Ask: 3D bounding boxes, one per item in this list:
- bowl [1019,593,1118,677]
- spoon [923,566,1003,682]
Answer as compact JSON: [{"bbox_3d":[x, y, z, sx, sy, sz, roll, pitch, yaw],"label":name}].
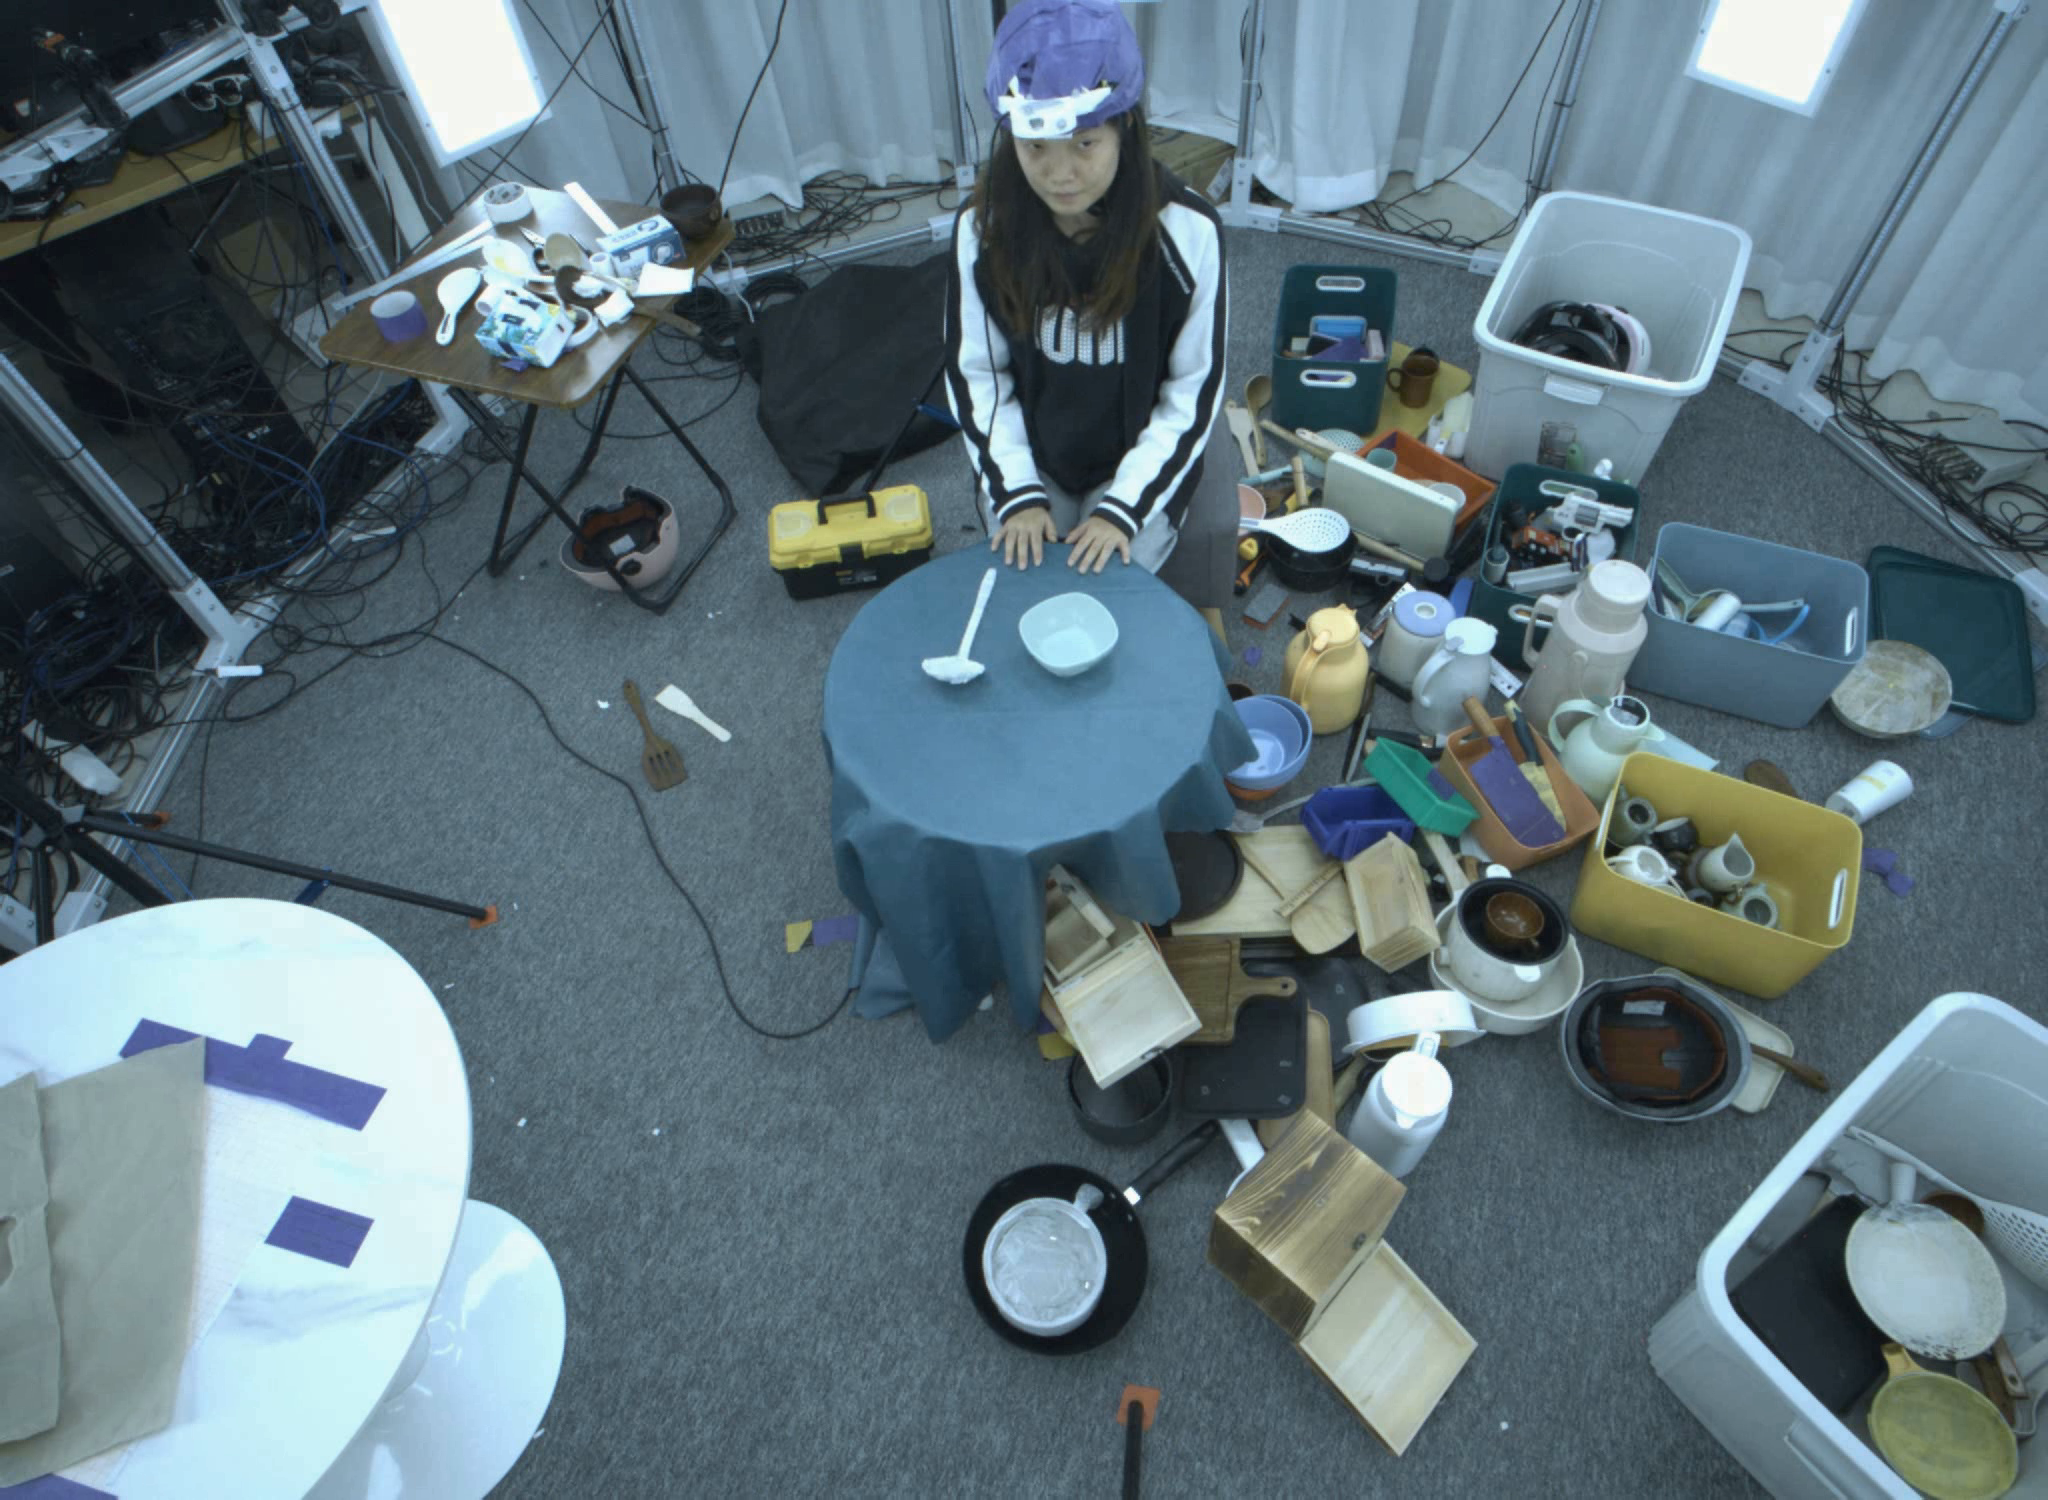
[{"bbox_3d":[0.068,-0.166,1.871,0.151,0.059,0.150,0,55,2],"label":"bowl"},{"bbox_3d":[-0.075,-0.203,1.899,0.100,0.060,0.276,15,57,7],"label":"spoon"}]
